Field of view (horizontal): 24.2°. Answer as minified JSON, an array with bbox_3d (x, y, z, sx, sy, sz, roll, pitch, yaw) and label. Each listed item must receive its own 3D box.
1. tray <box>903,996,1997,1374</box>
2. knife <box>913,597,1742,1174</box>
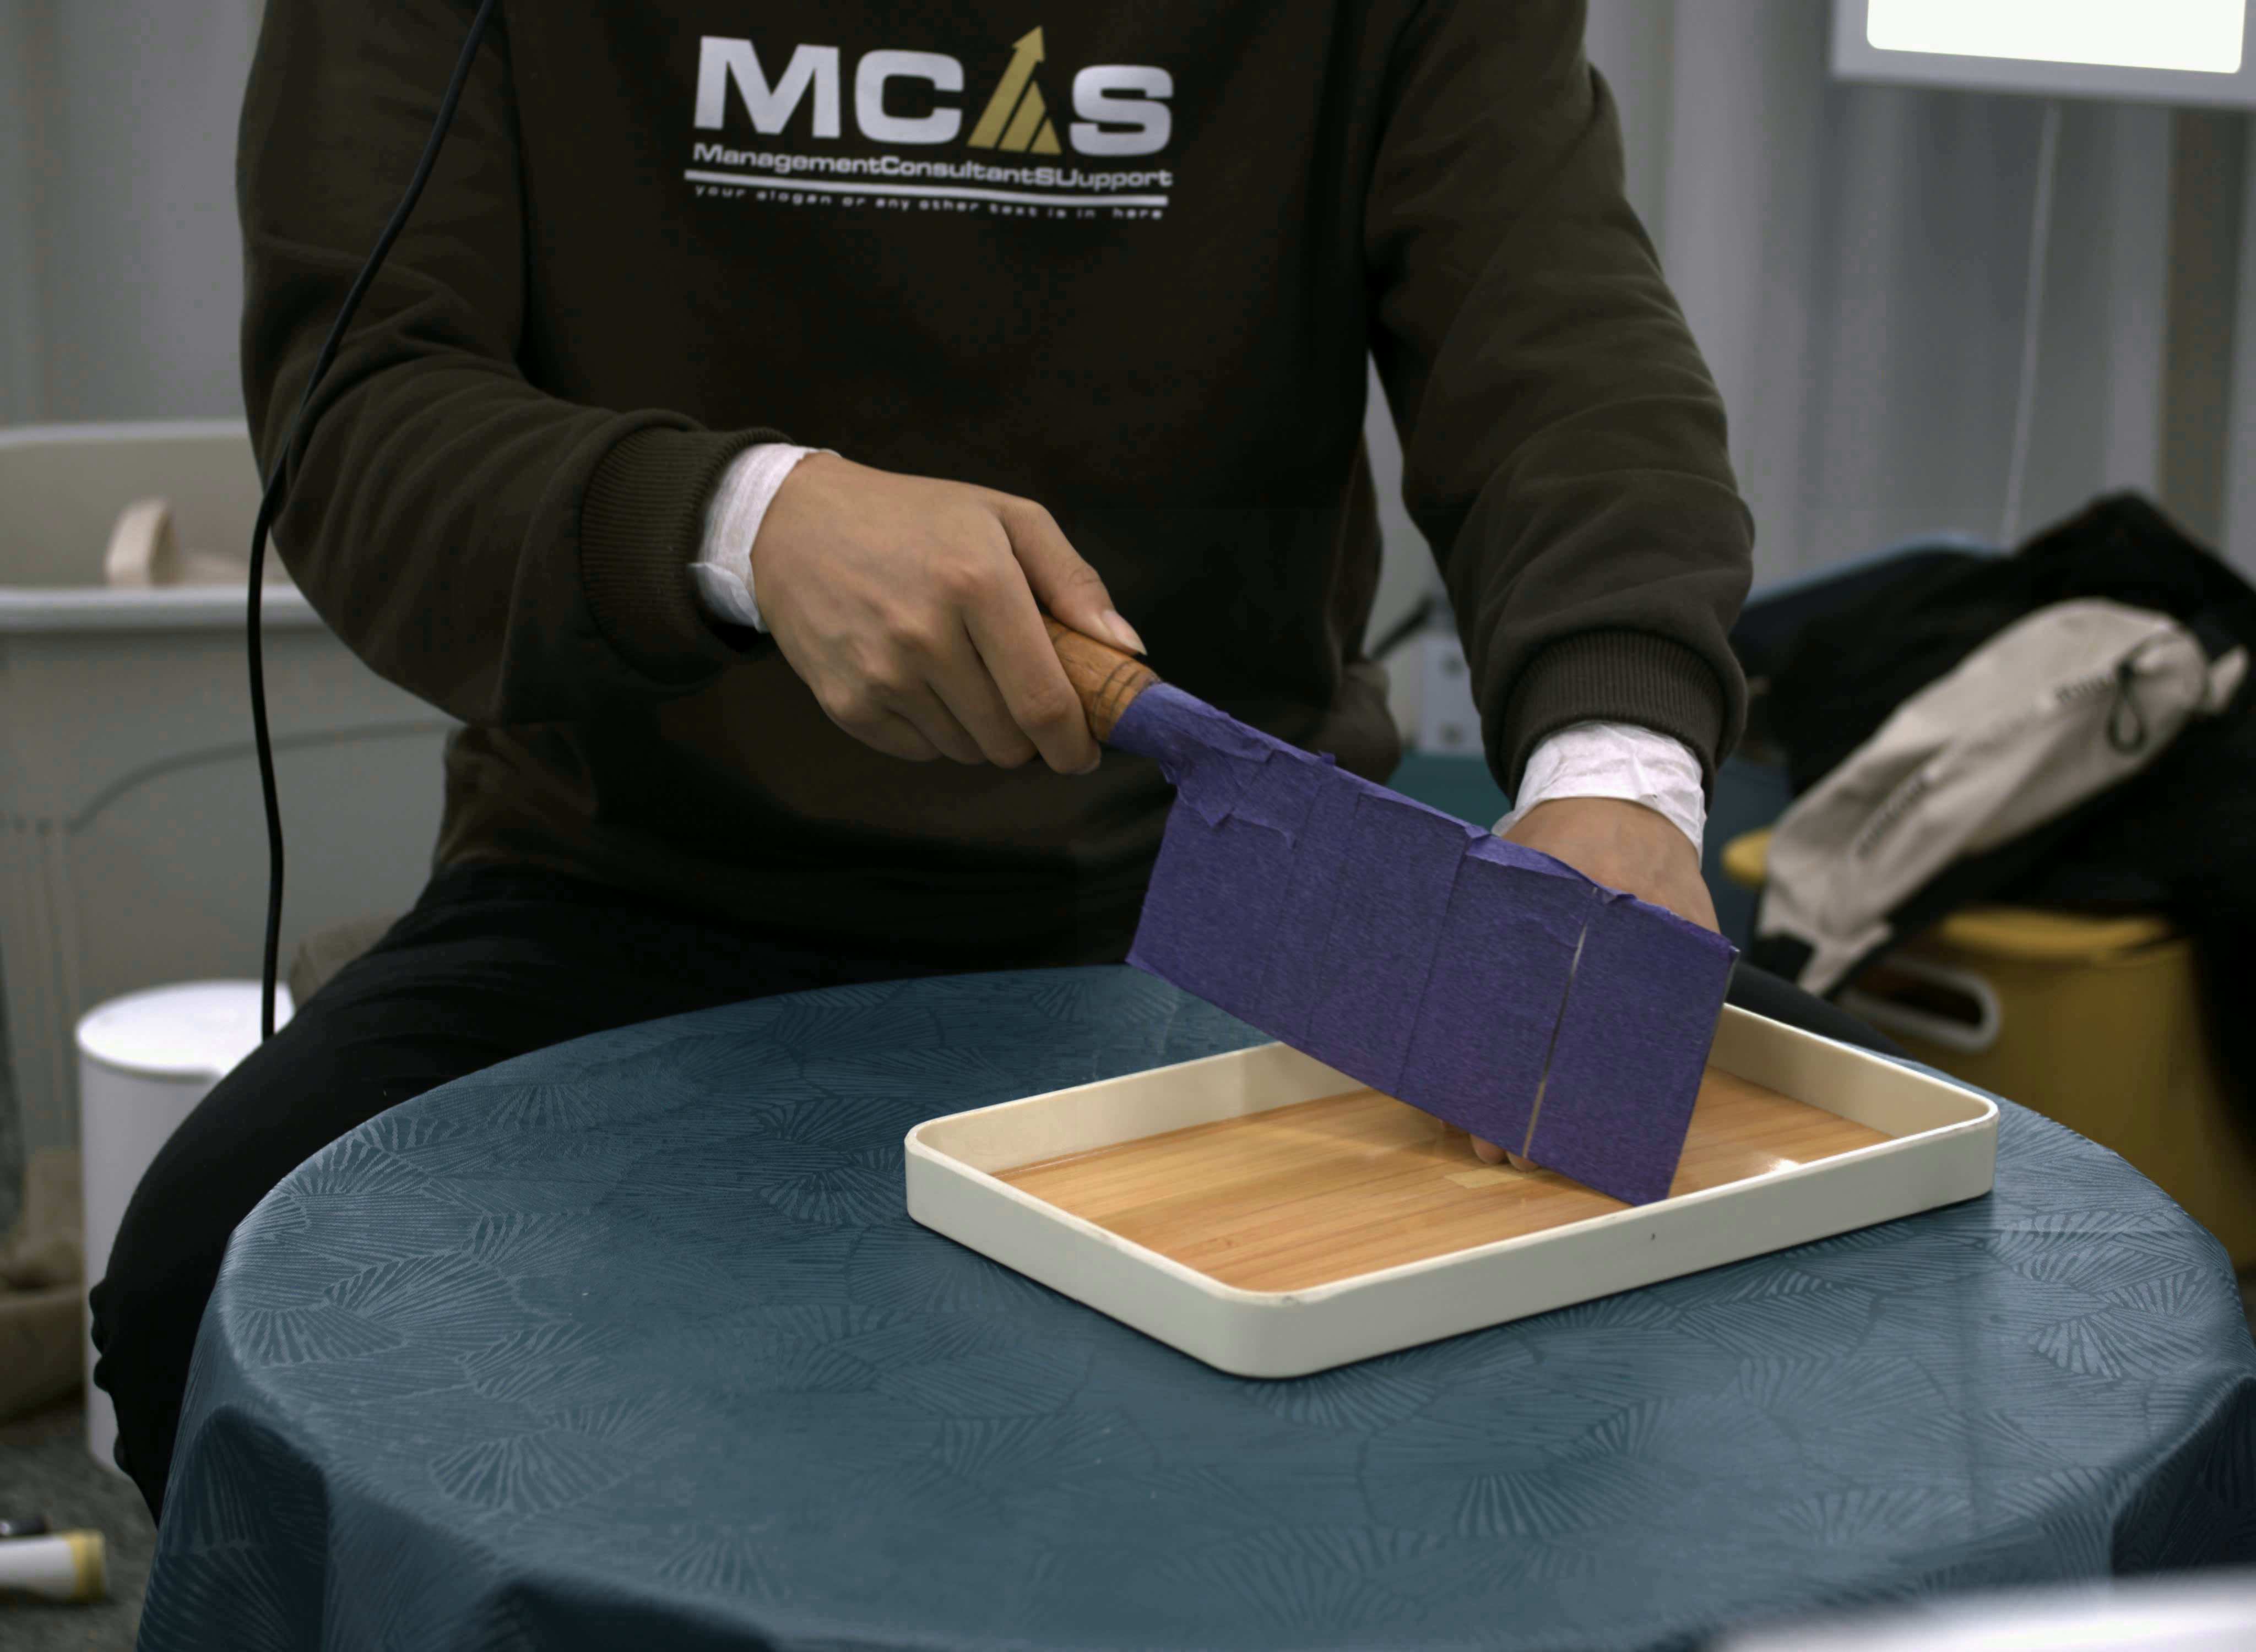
[{"bbox_3d":[0.100,0.102,1.616,0.302,0.027,0.189,-11,18,-35],"label":"tray"},{"bbox_3d":[0.049,0.019,1.653,0.311,0.104,0.032,24,16,32],"label":"knife"}]
